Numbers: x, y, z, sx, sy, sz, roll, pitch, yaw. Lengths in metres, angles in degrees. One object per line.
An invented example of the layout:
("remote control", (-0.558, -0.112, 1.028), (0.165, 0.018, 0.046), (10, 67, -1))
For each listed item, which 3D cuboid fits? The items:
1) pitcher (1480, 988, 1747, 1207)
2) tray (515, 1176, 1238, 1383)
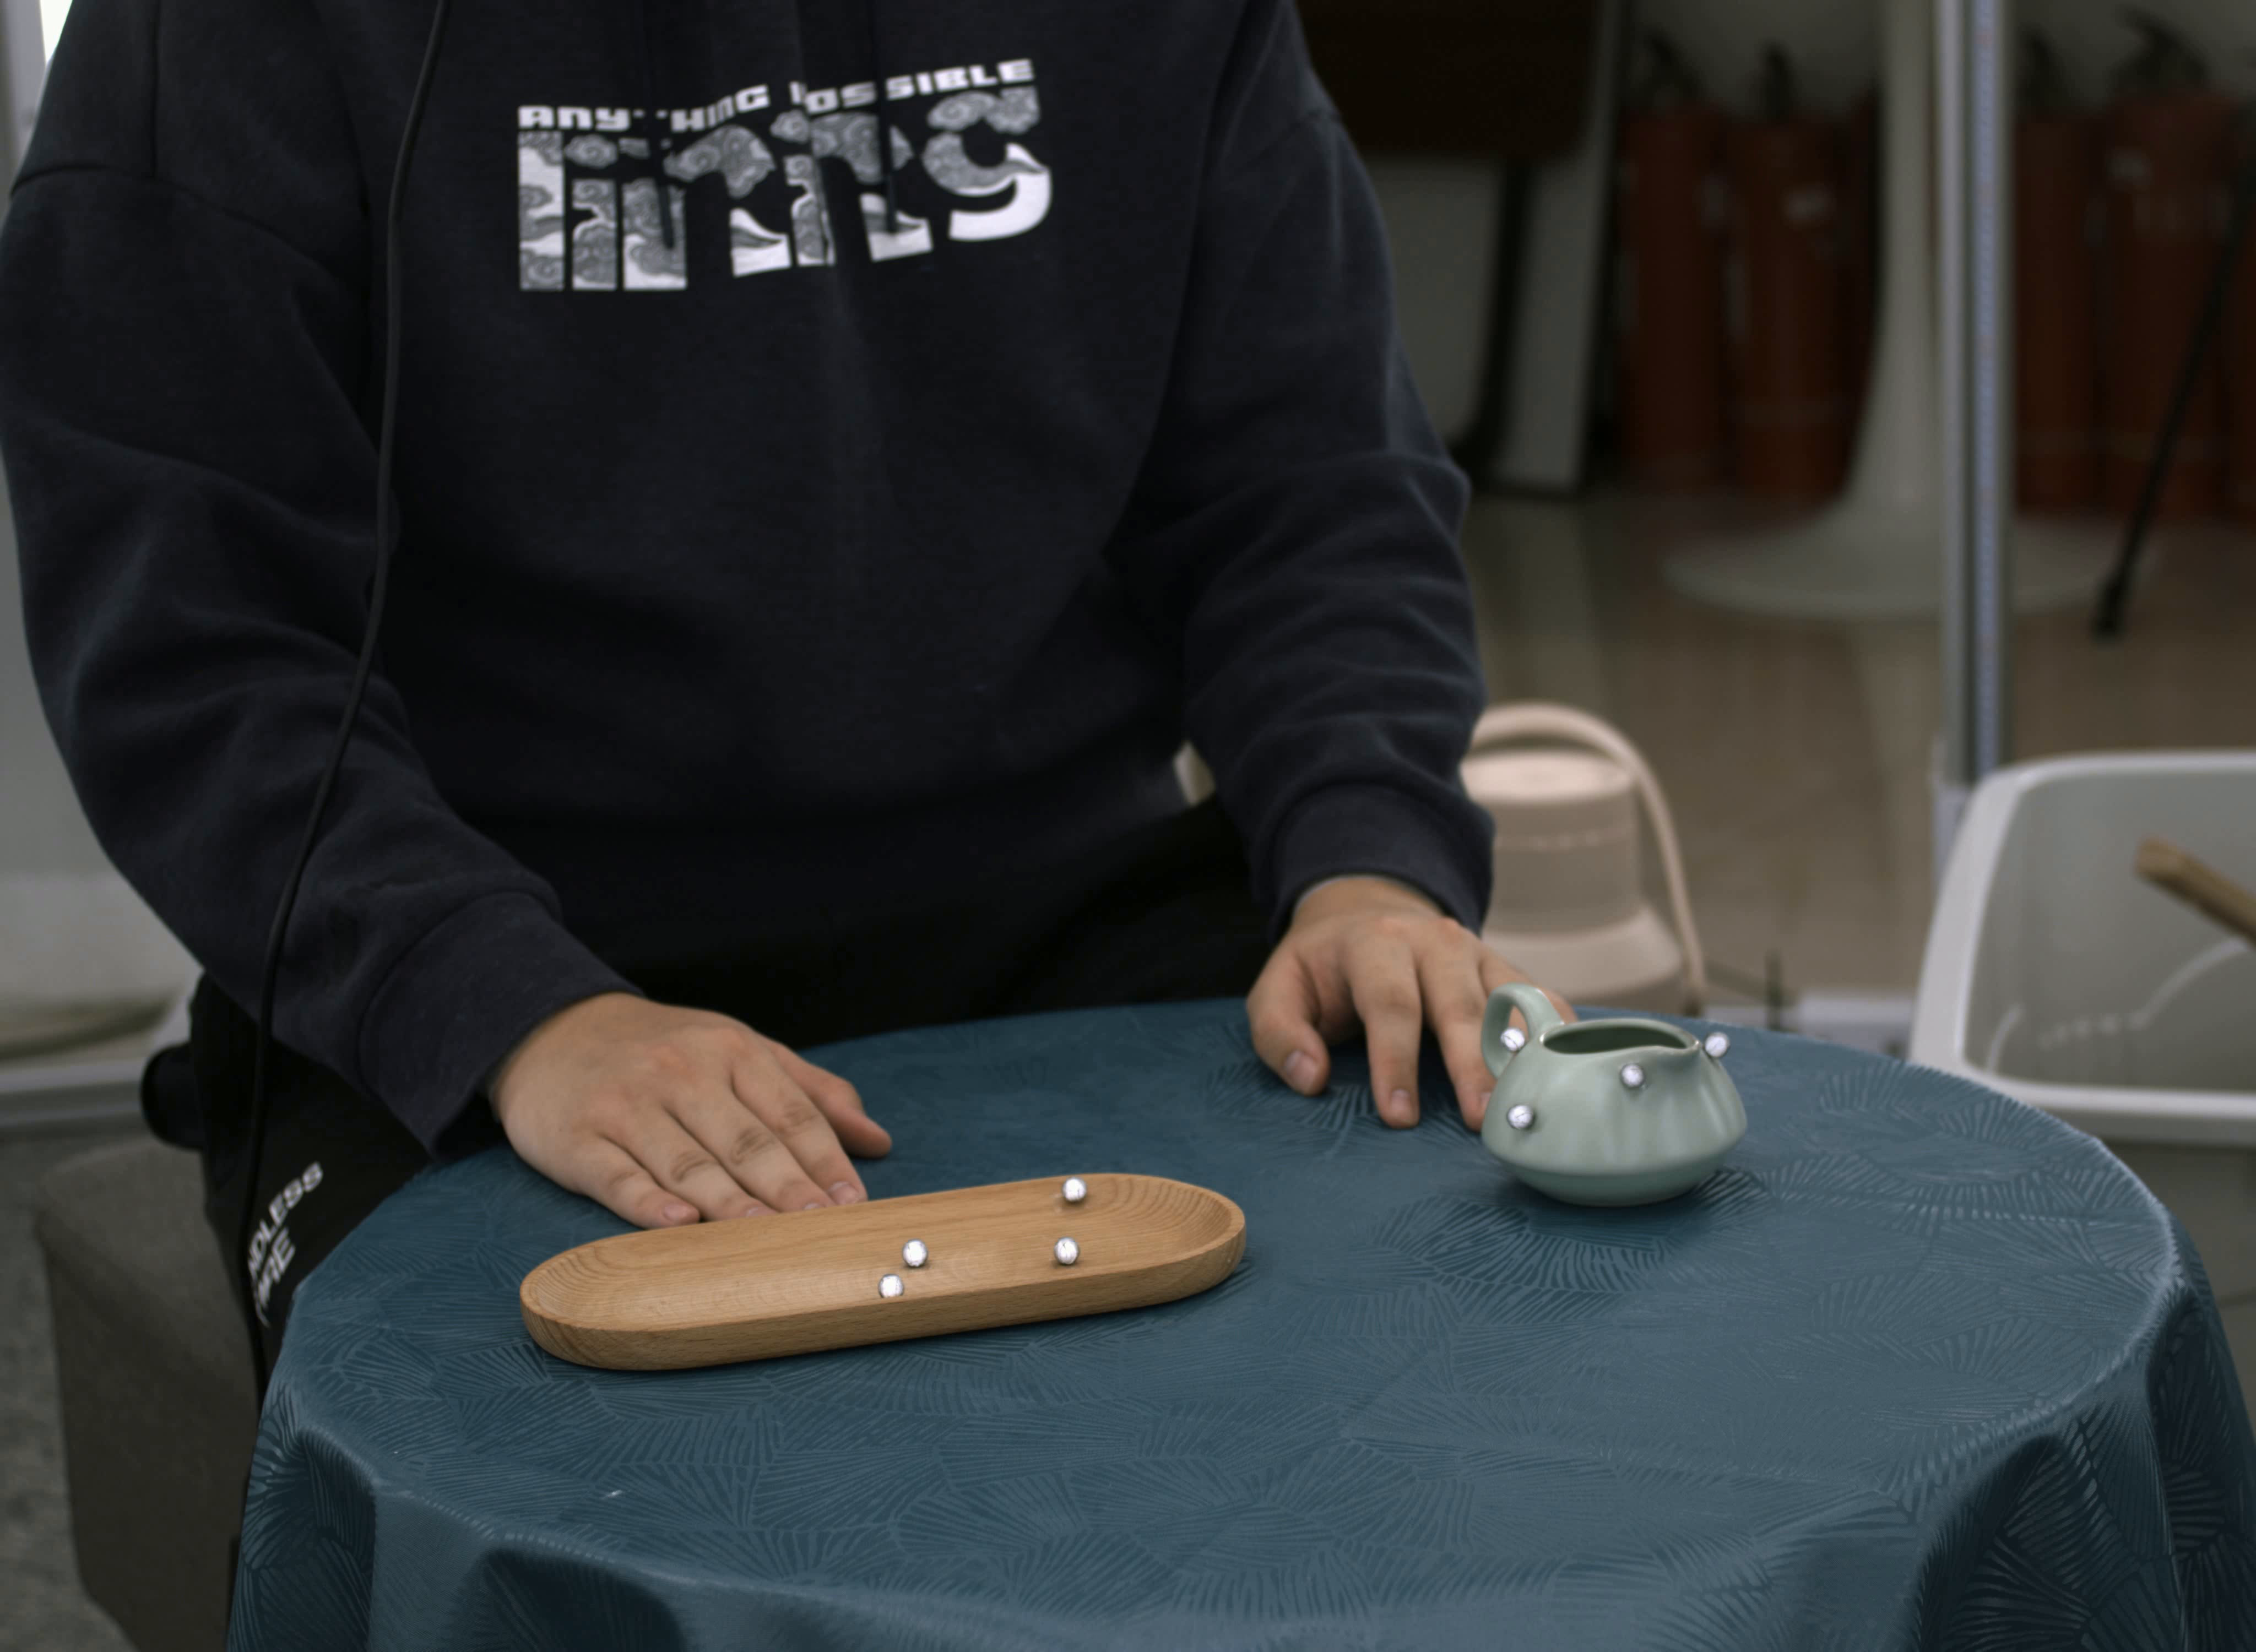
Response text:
("pitcher", (0.150, 0.088, 1.750), (0.084, 0.061, 0.109), (-12, 13, -33))
("tray", (-0.077, 0.141, 1.683), (0.227, 0.020, 0.102), (-9, 13, -12))
